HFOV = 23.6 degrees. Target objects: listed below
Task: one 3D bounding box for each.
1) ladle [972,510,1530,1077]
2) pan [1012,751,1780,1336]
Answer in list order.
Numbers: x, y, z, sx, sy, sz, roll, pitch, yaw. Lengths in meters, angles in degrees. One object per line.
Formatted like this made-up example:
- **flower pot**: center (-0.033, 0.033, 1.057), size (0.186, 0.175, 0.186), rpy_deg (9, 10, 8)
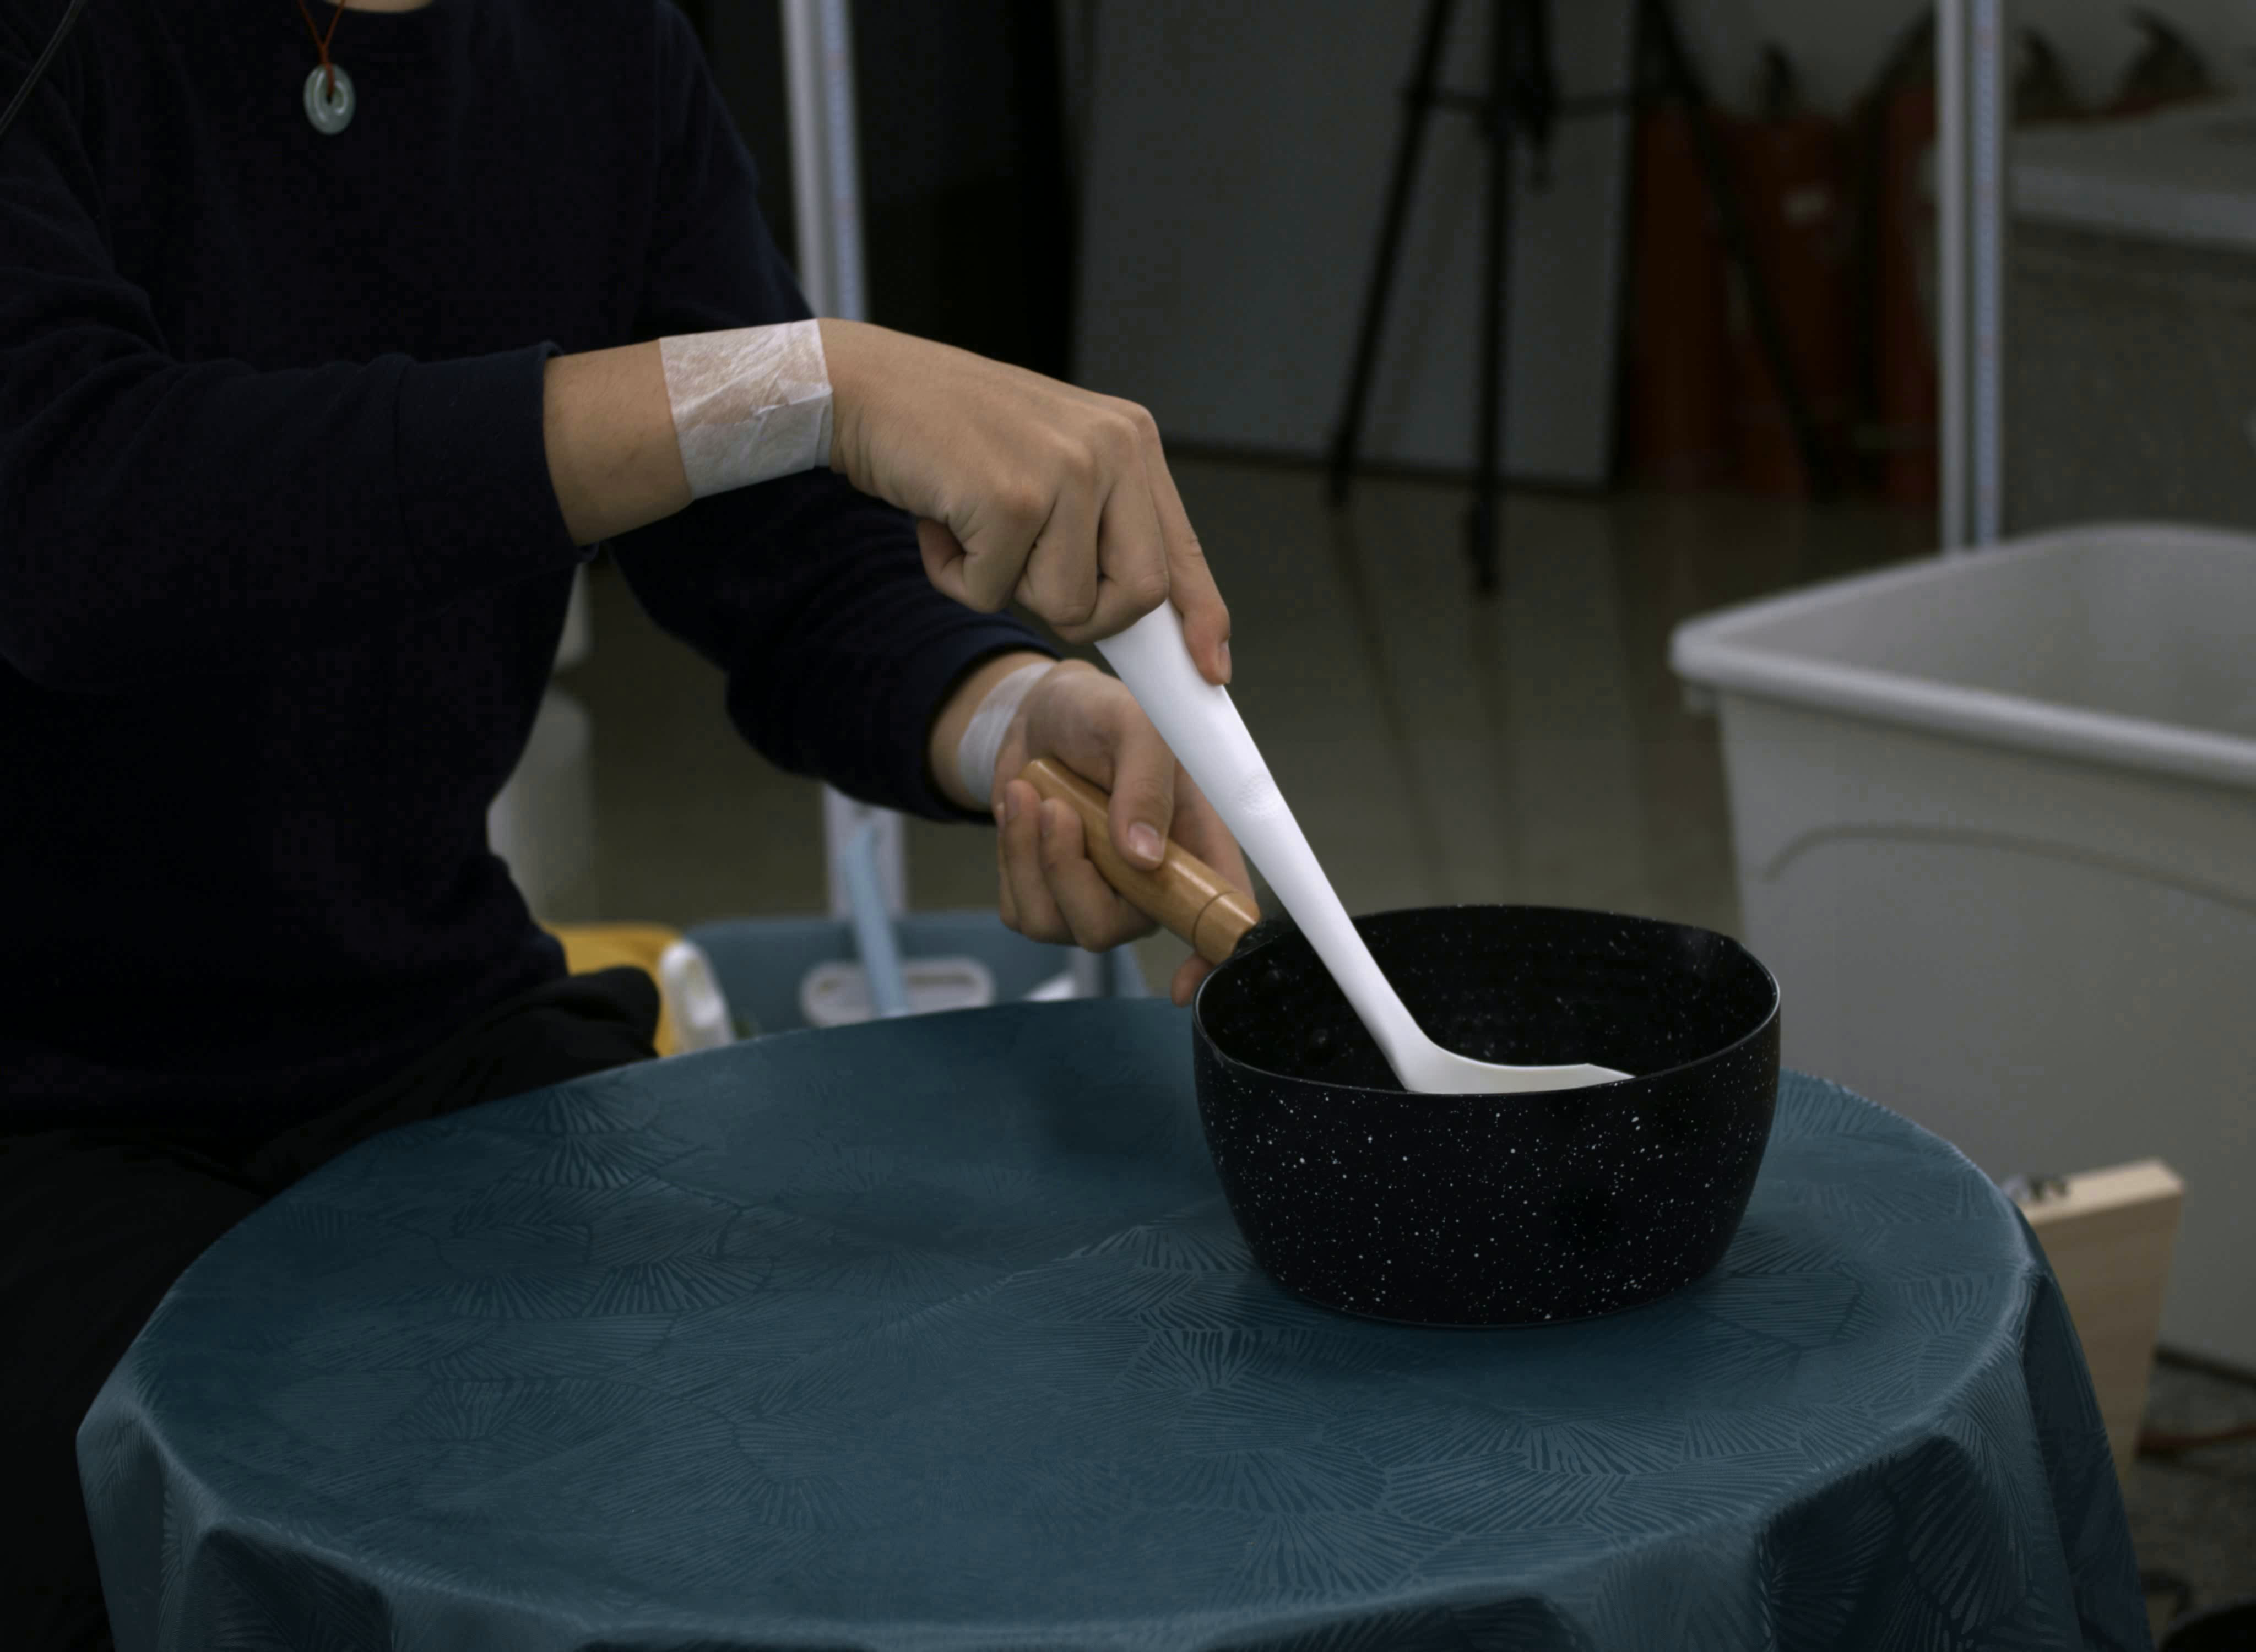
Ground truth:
- **ladle**: center (0.055, 0.017, 1.681), size (0.089, 0.295, 0.070), rpy_deg (-33, -9, -25)
- **pan**: center (0.065, 0.063, 1.733), size (0.203, 0.109, 0.346), rpy_deg (-15, 21, -33)
